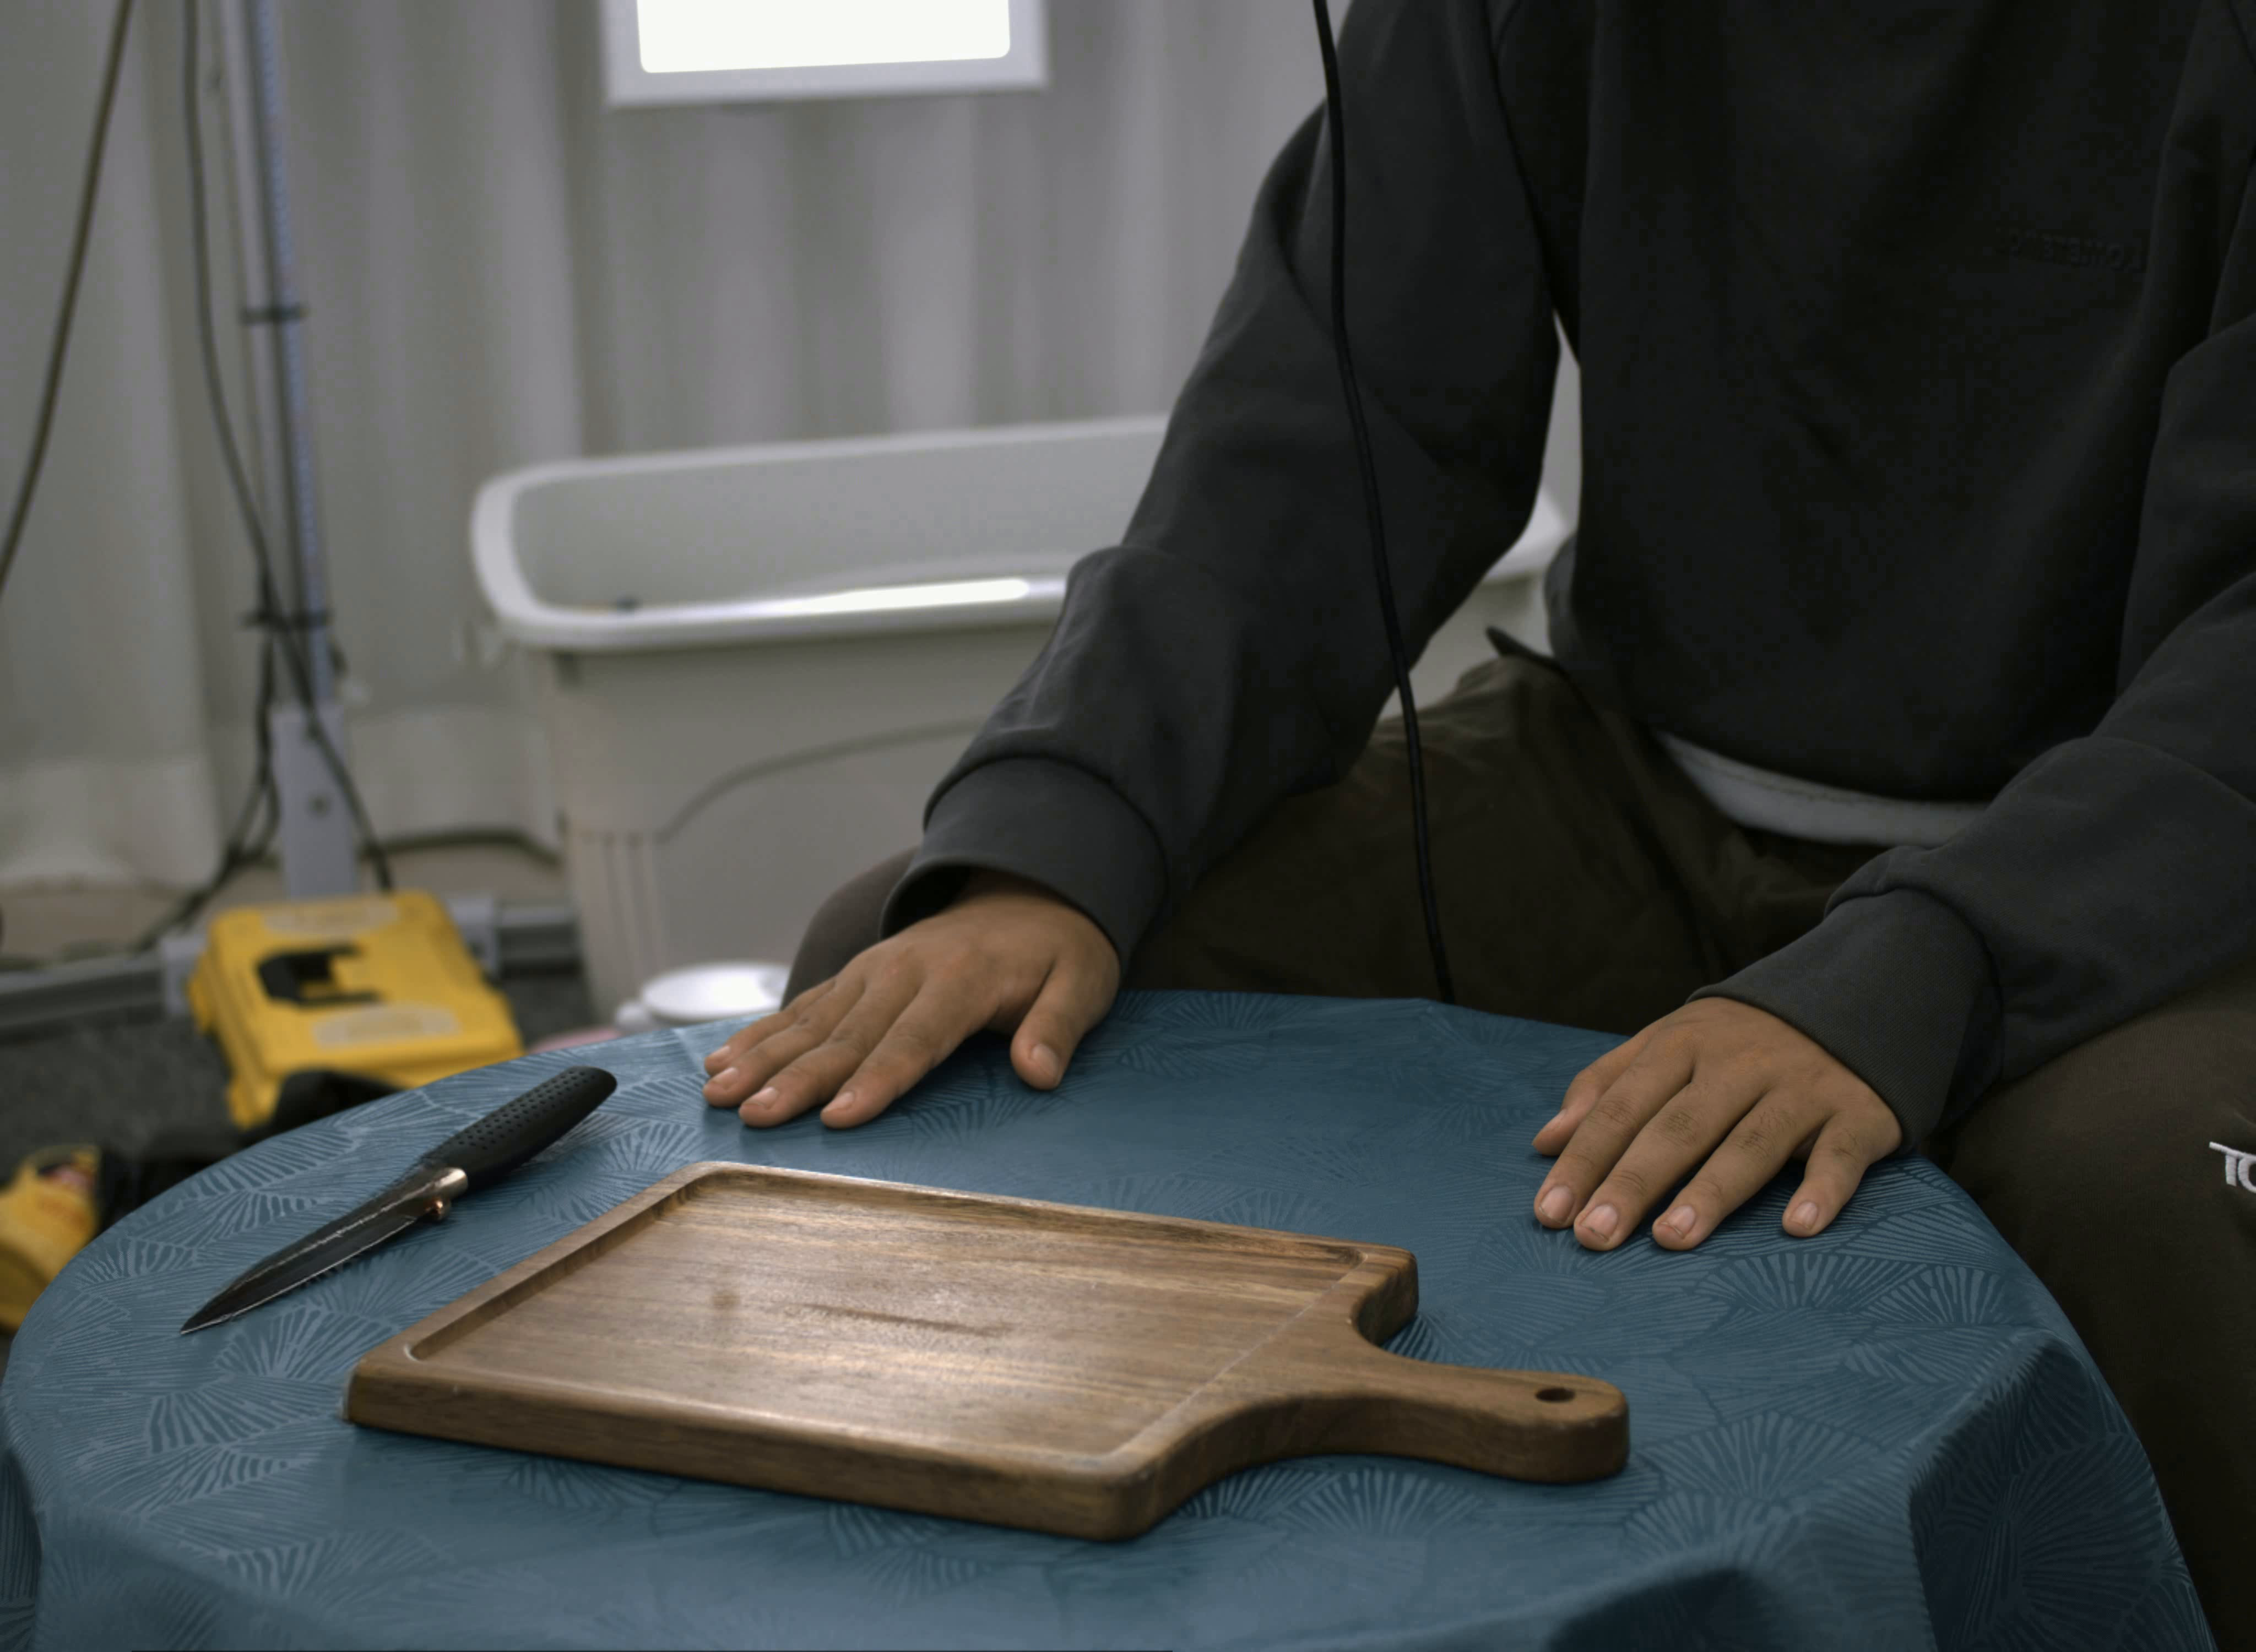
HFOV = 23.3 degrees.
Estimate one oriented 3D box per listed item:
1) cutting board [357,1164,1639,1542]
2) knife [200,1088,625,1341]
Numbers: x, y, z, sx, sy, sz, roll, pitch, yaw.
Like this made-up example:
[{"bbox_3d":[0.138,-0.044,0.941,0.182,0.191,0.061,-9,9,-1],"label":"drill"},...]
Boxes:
[{"bbox_3d":[-0.022,0.150,1.547,0.353,0.023,0.201,5,17,26],"label":"cutting board"},{"bbox_3d":[-0.224,0.121,1.713,0.026,0.017,0.226,11,20,27],"label":"knife"}]
